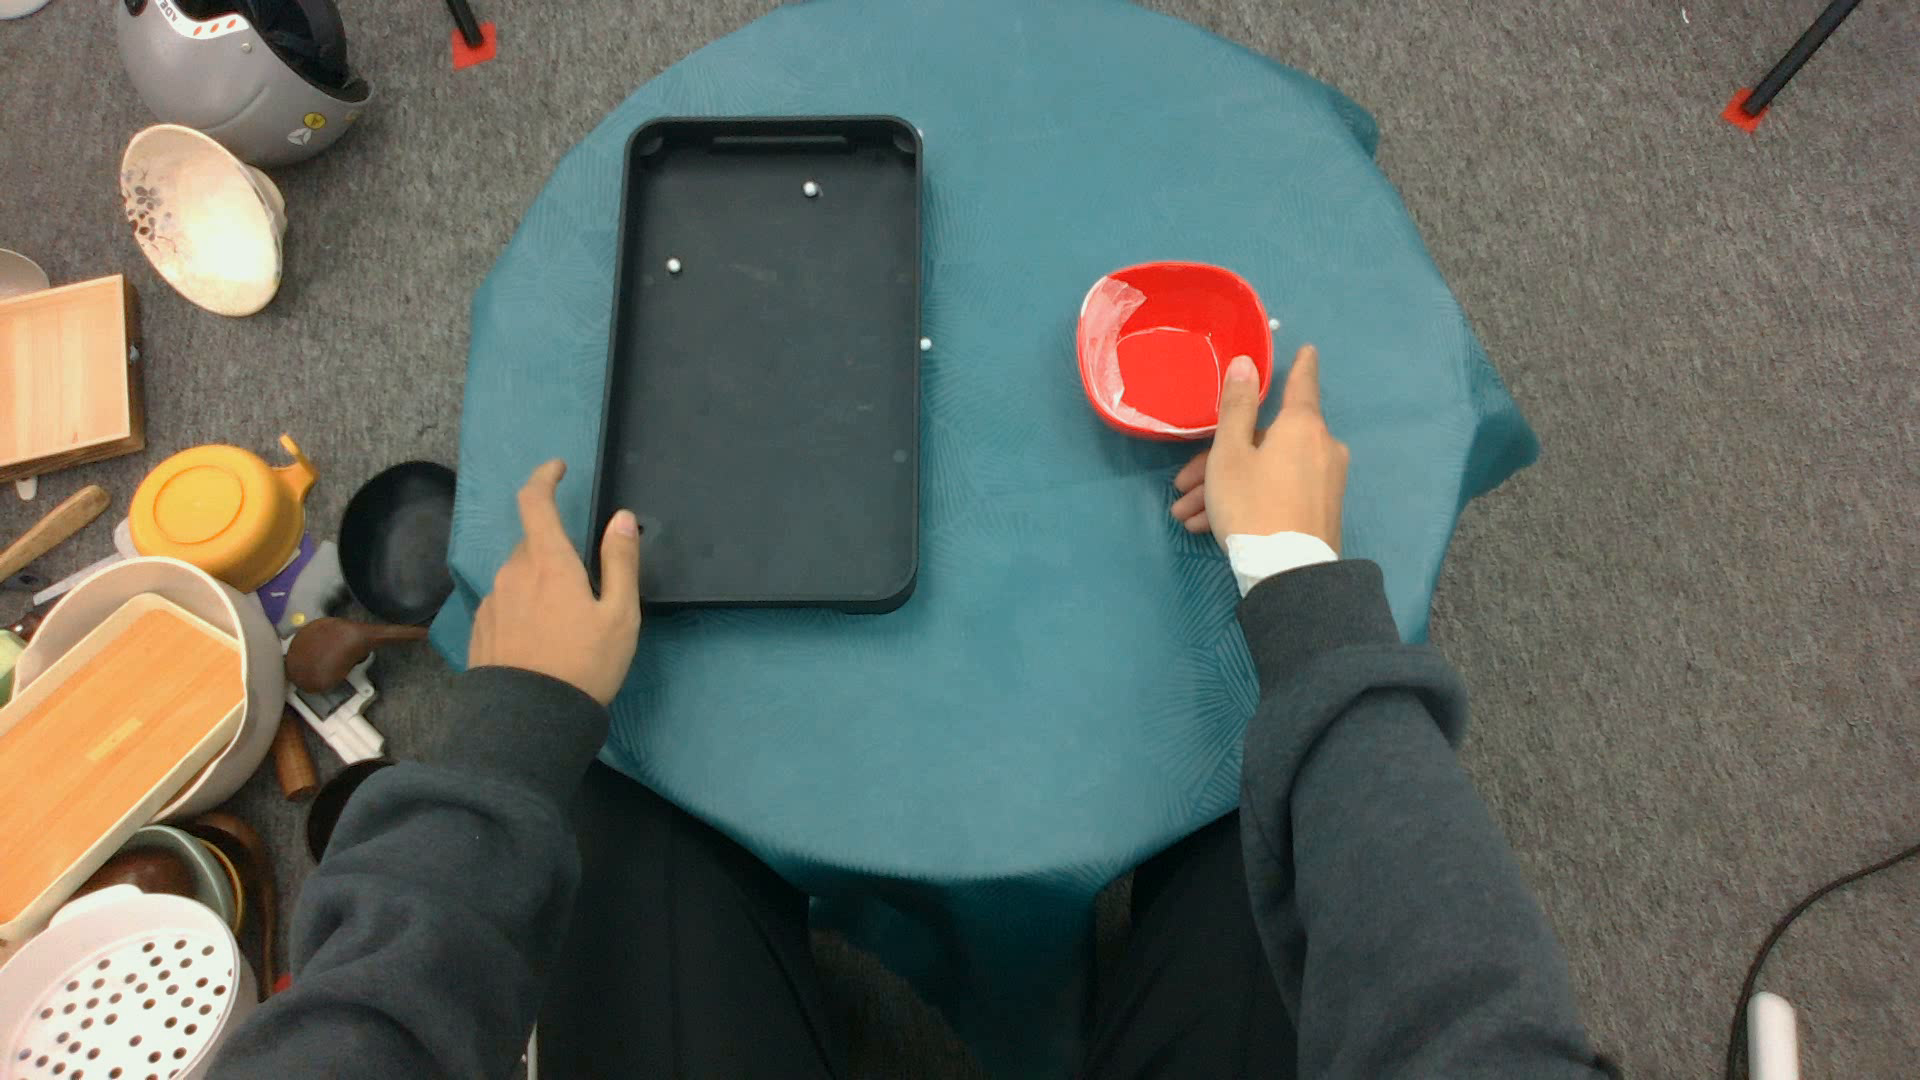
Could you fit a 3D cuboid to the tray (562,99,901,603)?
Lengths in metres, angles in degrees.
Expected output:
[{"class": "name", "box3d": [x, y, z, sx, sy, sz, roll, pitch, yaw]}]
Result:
[{"class": "tray", "box3d": [-0.126, -0.117, 0.809, 0.184, 0.037, 0.319, -1, 69, 0]}]

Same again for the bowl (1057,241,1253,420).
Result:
[{"class": "bowl", "box3d": [0.110, -0.113, 0.797, 0.119, 0.051, 0.119, 0, 68, 0]}]
